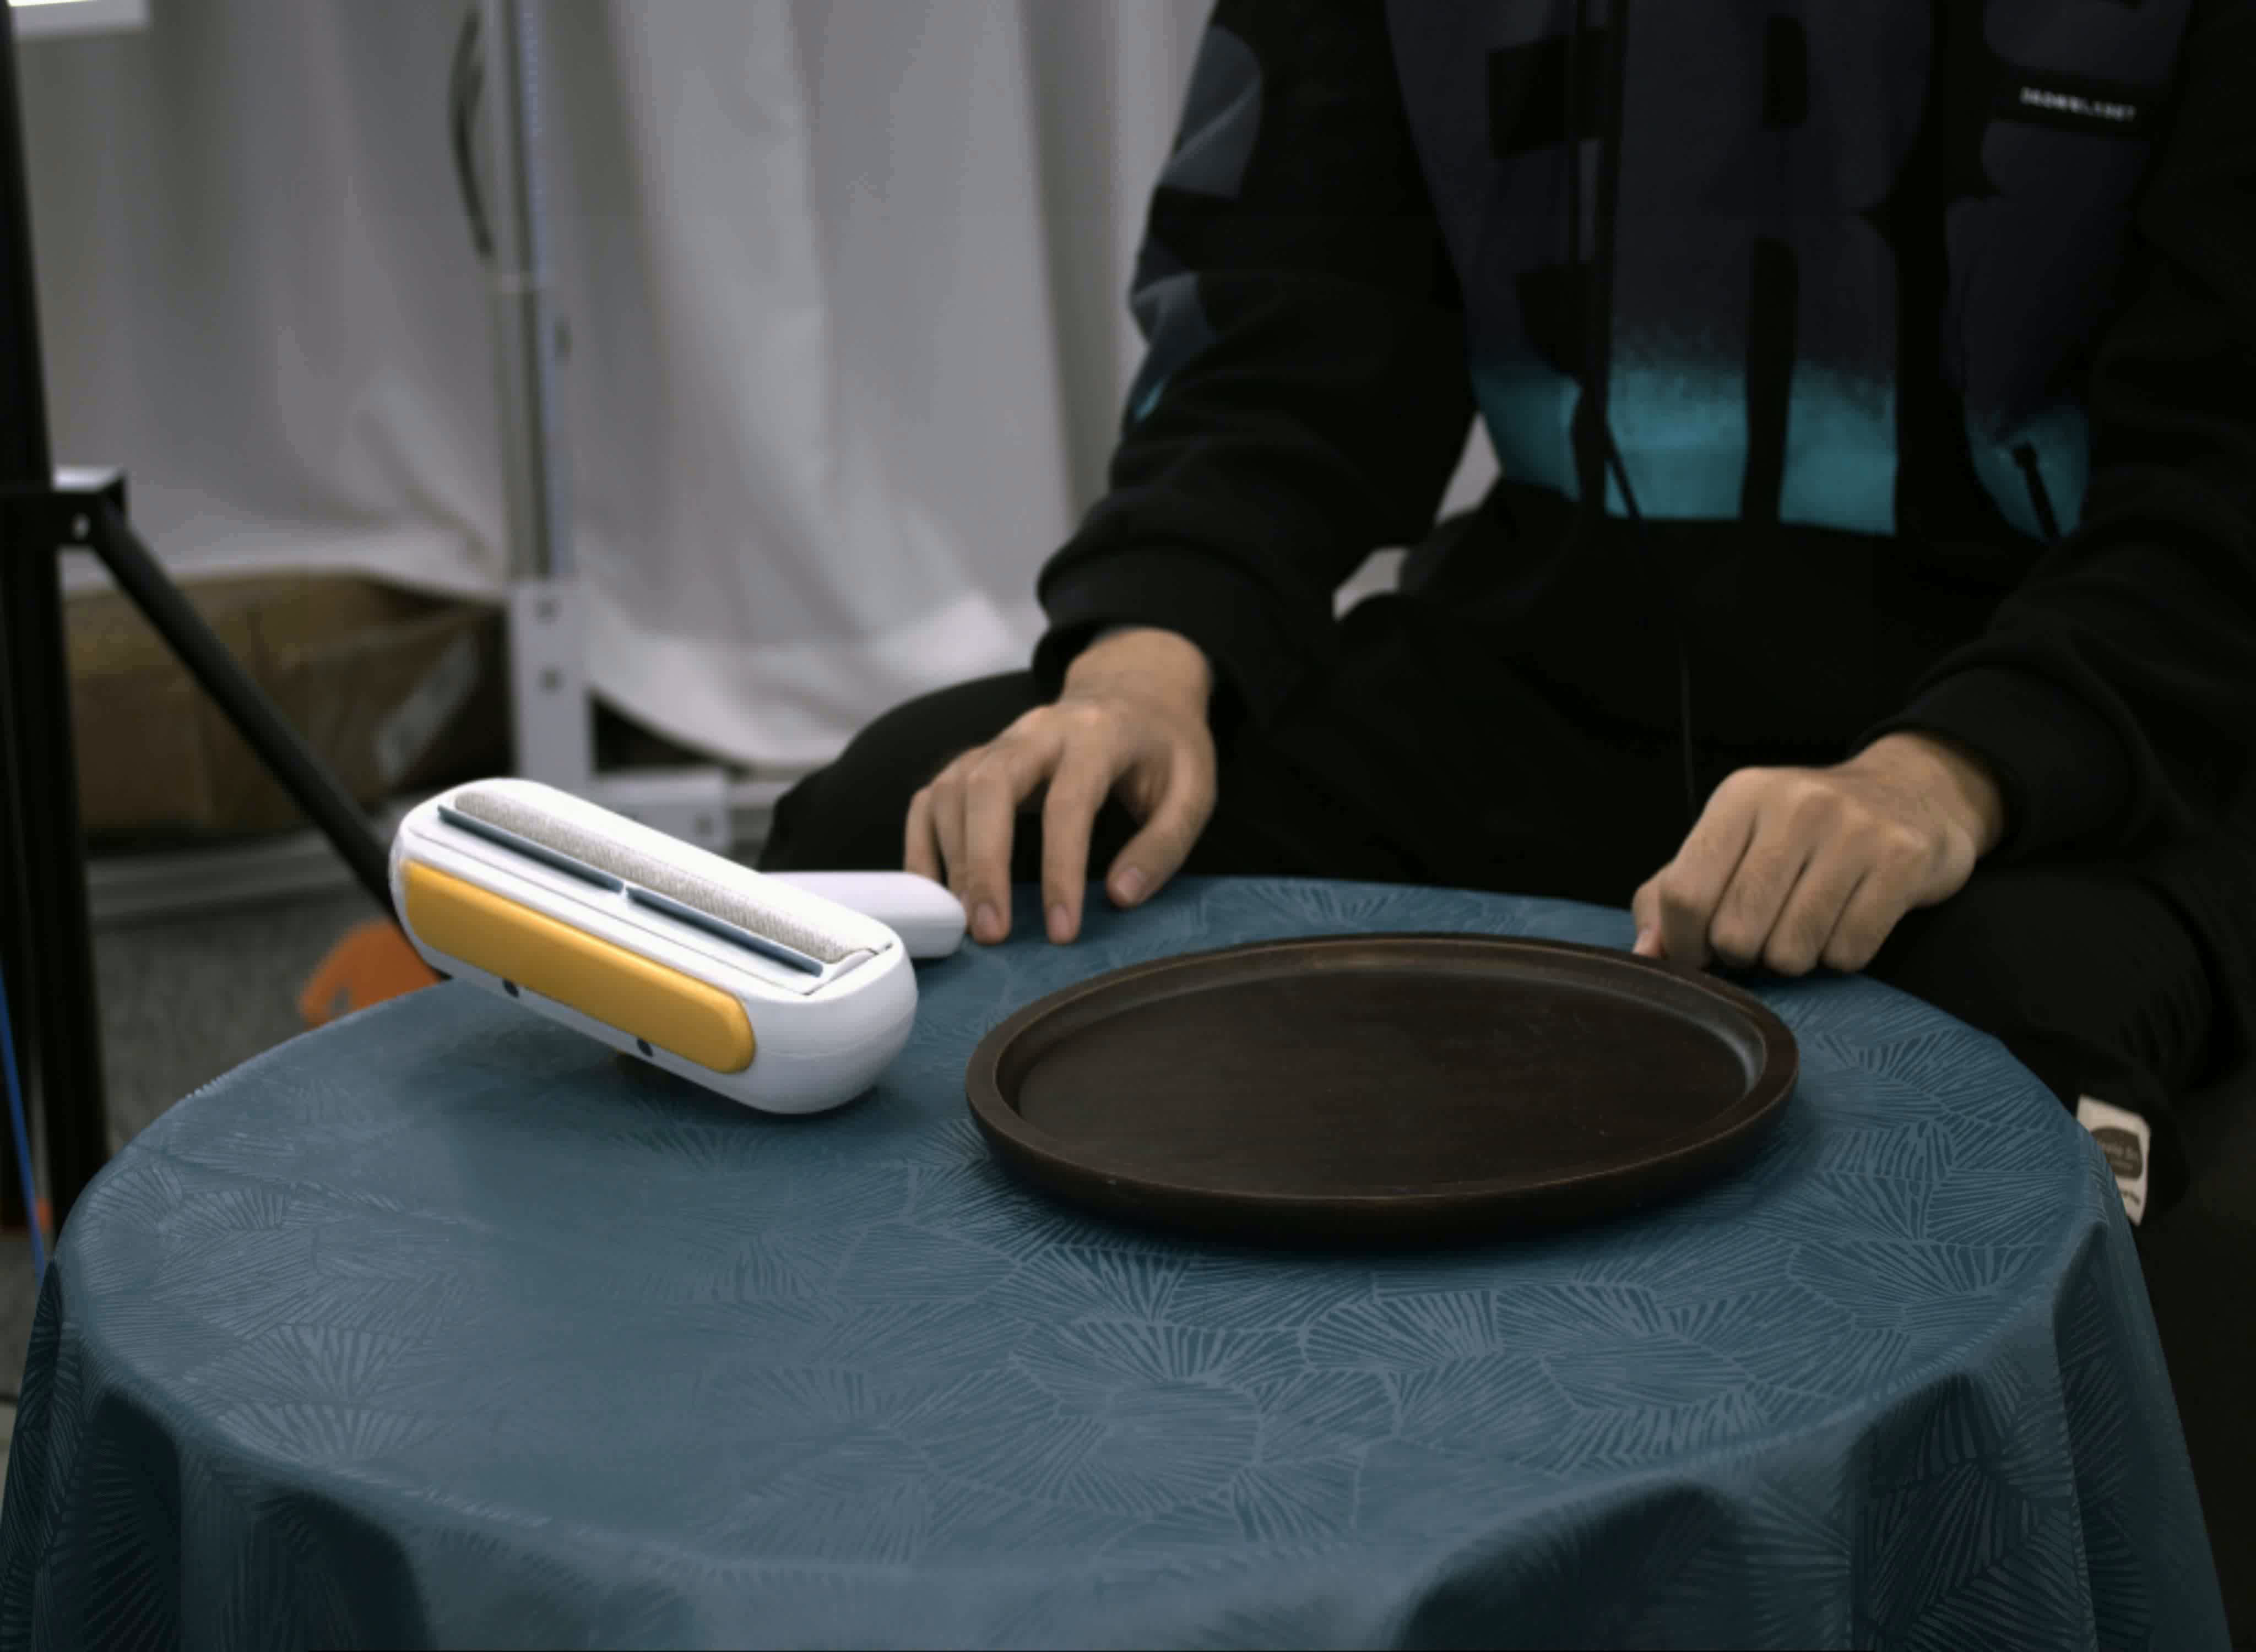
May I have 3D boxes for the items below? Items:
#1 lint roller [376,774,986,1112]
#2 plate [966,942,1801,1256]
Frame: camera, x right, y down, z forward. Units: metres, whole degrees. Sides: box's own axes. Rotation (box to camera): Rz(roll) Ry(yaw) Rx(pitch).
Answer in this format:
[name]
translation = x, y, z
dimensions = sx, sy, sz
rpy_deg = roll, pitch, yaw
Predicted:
[lint roller]
translation = -0.119, 0.030, 1.730
dimensions = 0.197, 0.074, 0.188
rpy_deg = 18, 24, 39
[plate]
translation = 0.077, 0.080, 1.603
dimensions = 0.253, 0.029, 0.256
rpy_deg = -2, 15, -1
